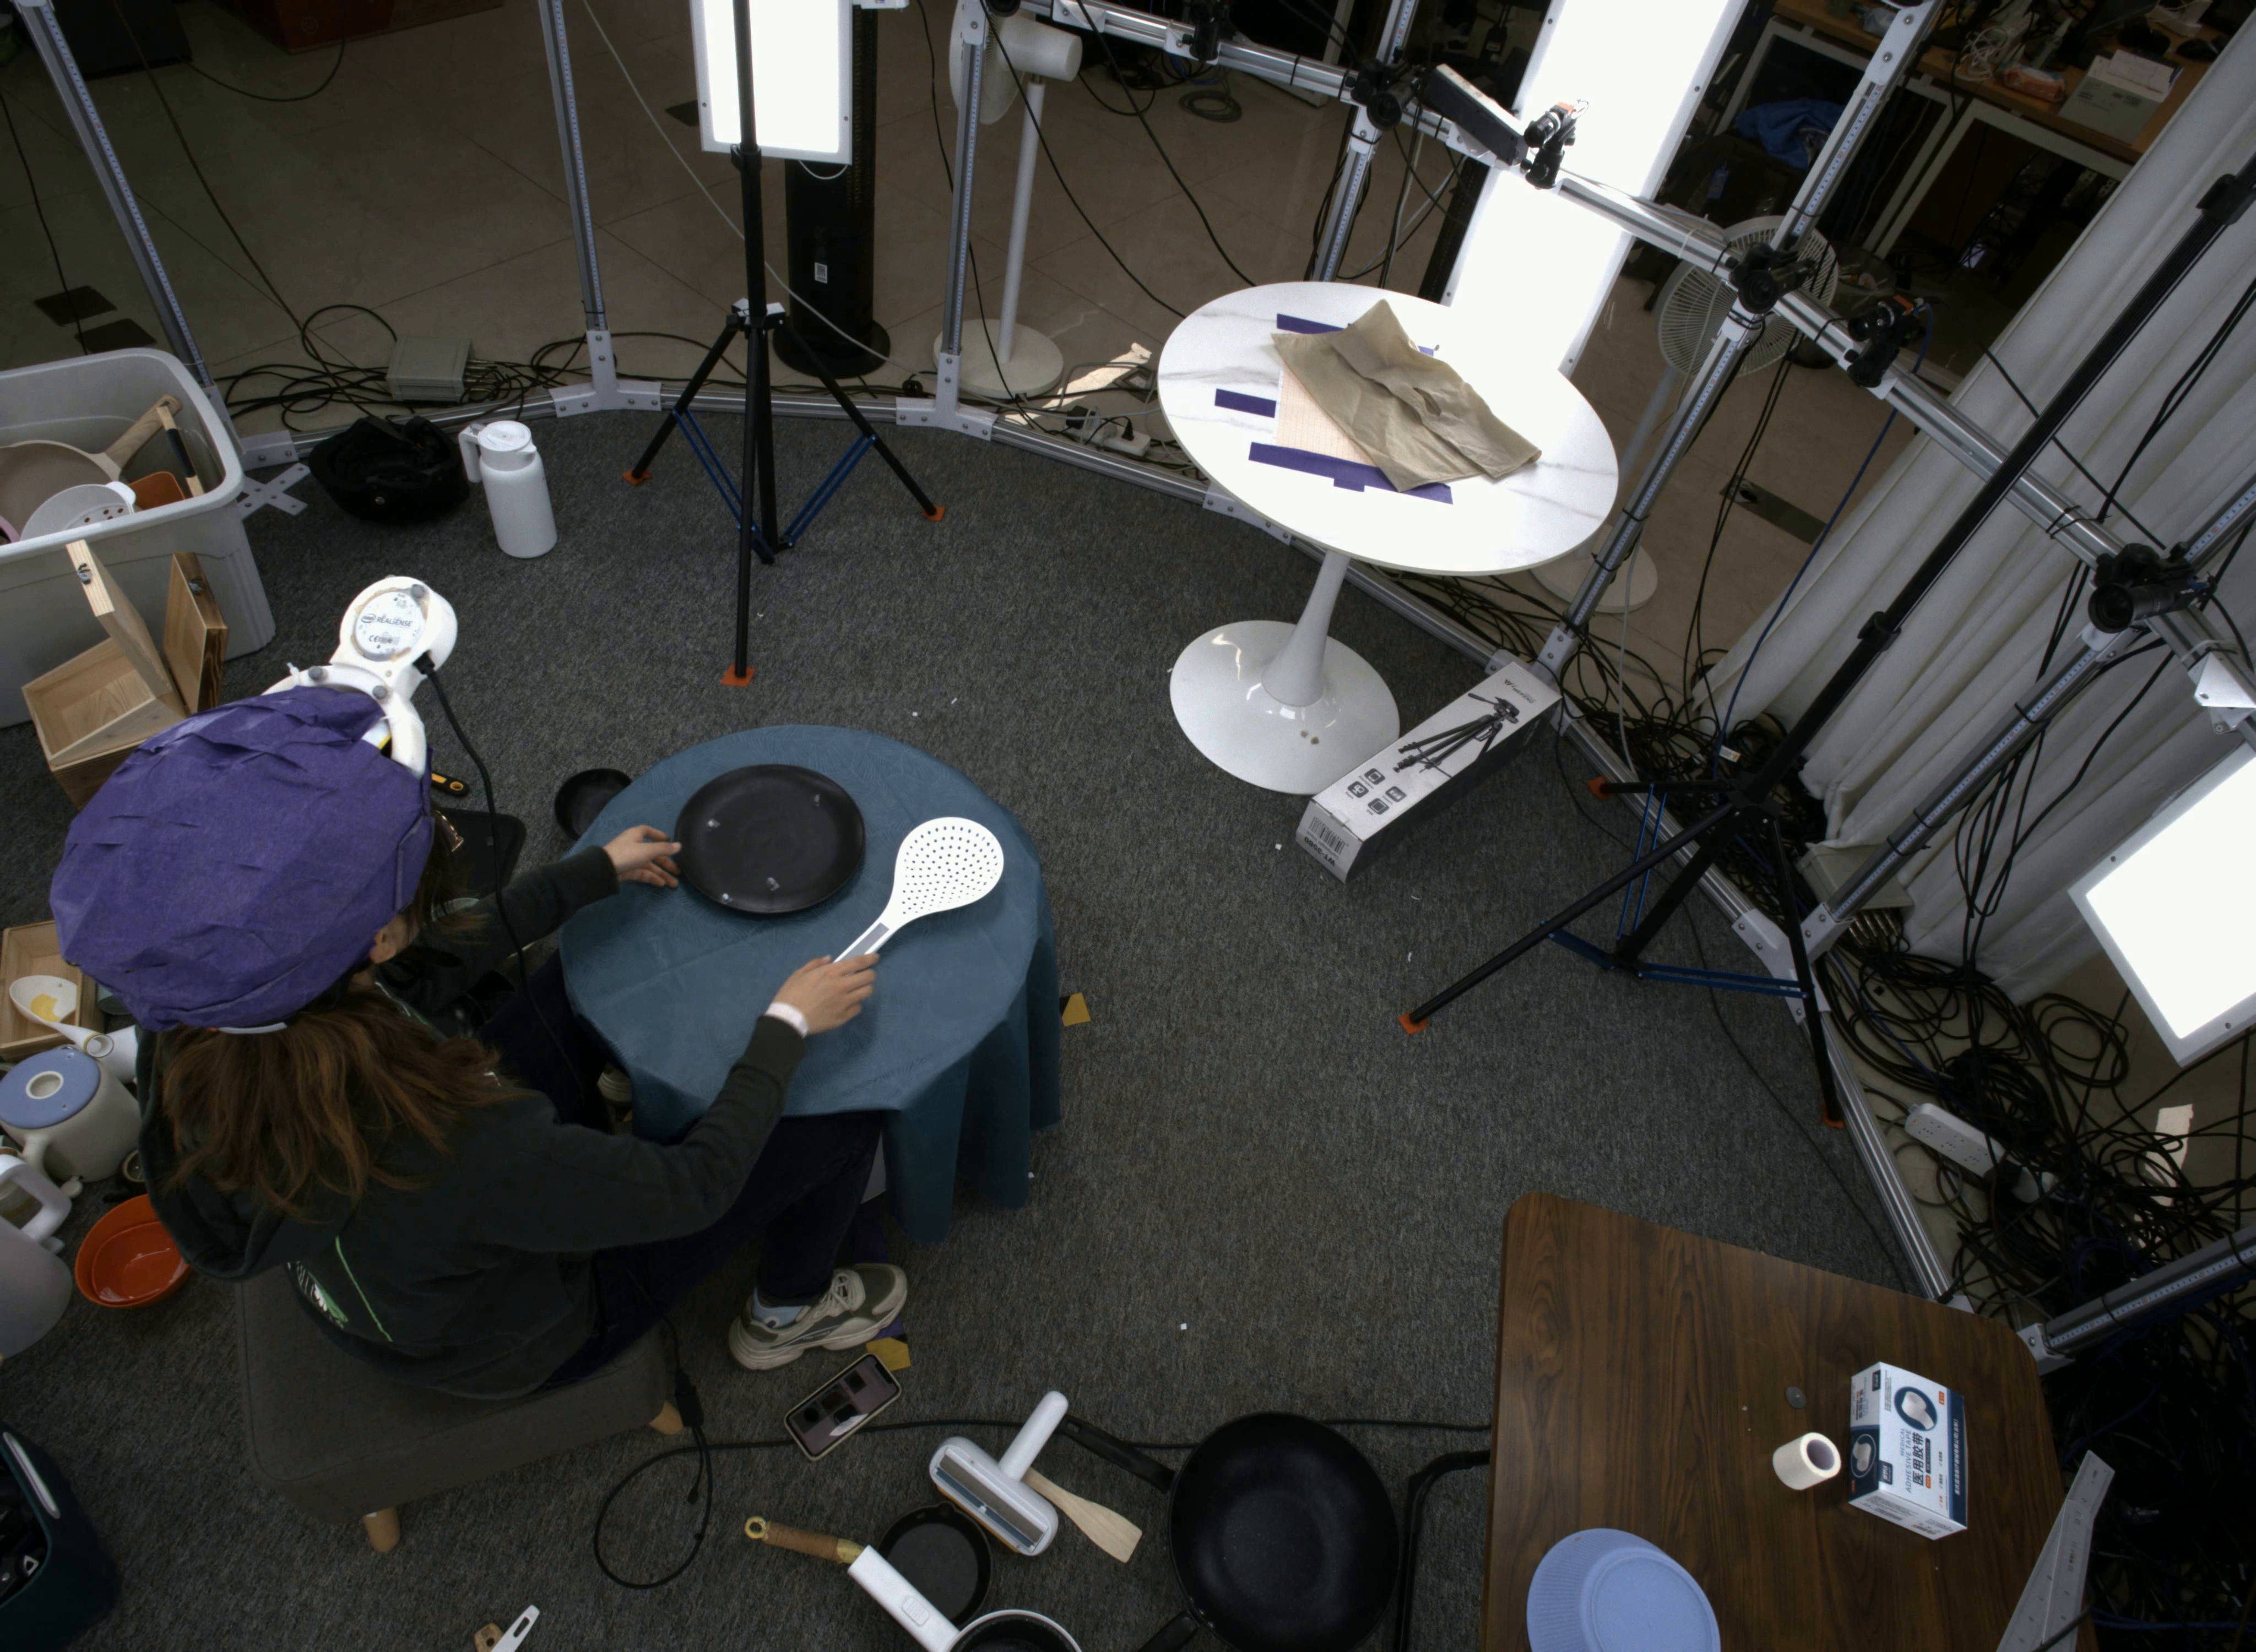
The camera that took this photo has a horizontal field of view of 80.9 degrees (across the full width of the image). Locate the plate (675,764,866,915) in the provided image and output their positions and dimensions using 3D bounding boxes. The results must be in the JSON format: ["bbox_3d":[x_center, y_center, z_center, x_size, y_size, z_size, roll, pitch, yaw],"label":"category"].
[{"bbox_3d":[-0.466,0.018,1.690,0.244,0.024,0.240,8,52,-9],"label":"plate"}]

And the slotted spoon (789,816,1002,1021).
[{"bbox_3d":[-0.296,0.115,1.647,0.133,0.047,0.349,34,54,15],"label":"slotted spoon"}]
